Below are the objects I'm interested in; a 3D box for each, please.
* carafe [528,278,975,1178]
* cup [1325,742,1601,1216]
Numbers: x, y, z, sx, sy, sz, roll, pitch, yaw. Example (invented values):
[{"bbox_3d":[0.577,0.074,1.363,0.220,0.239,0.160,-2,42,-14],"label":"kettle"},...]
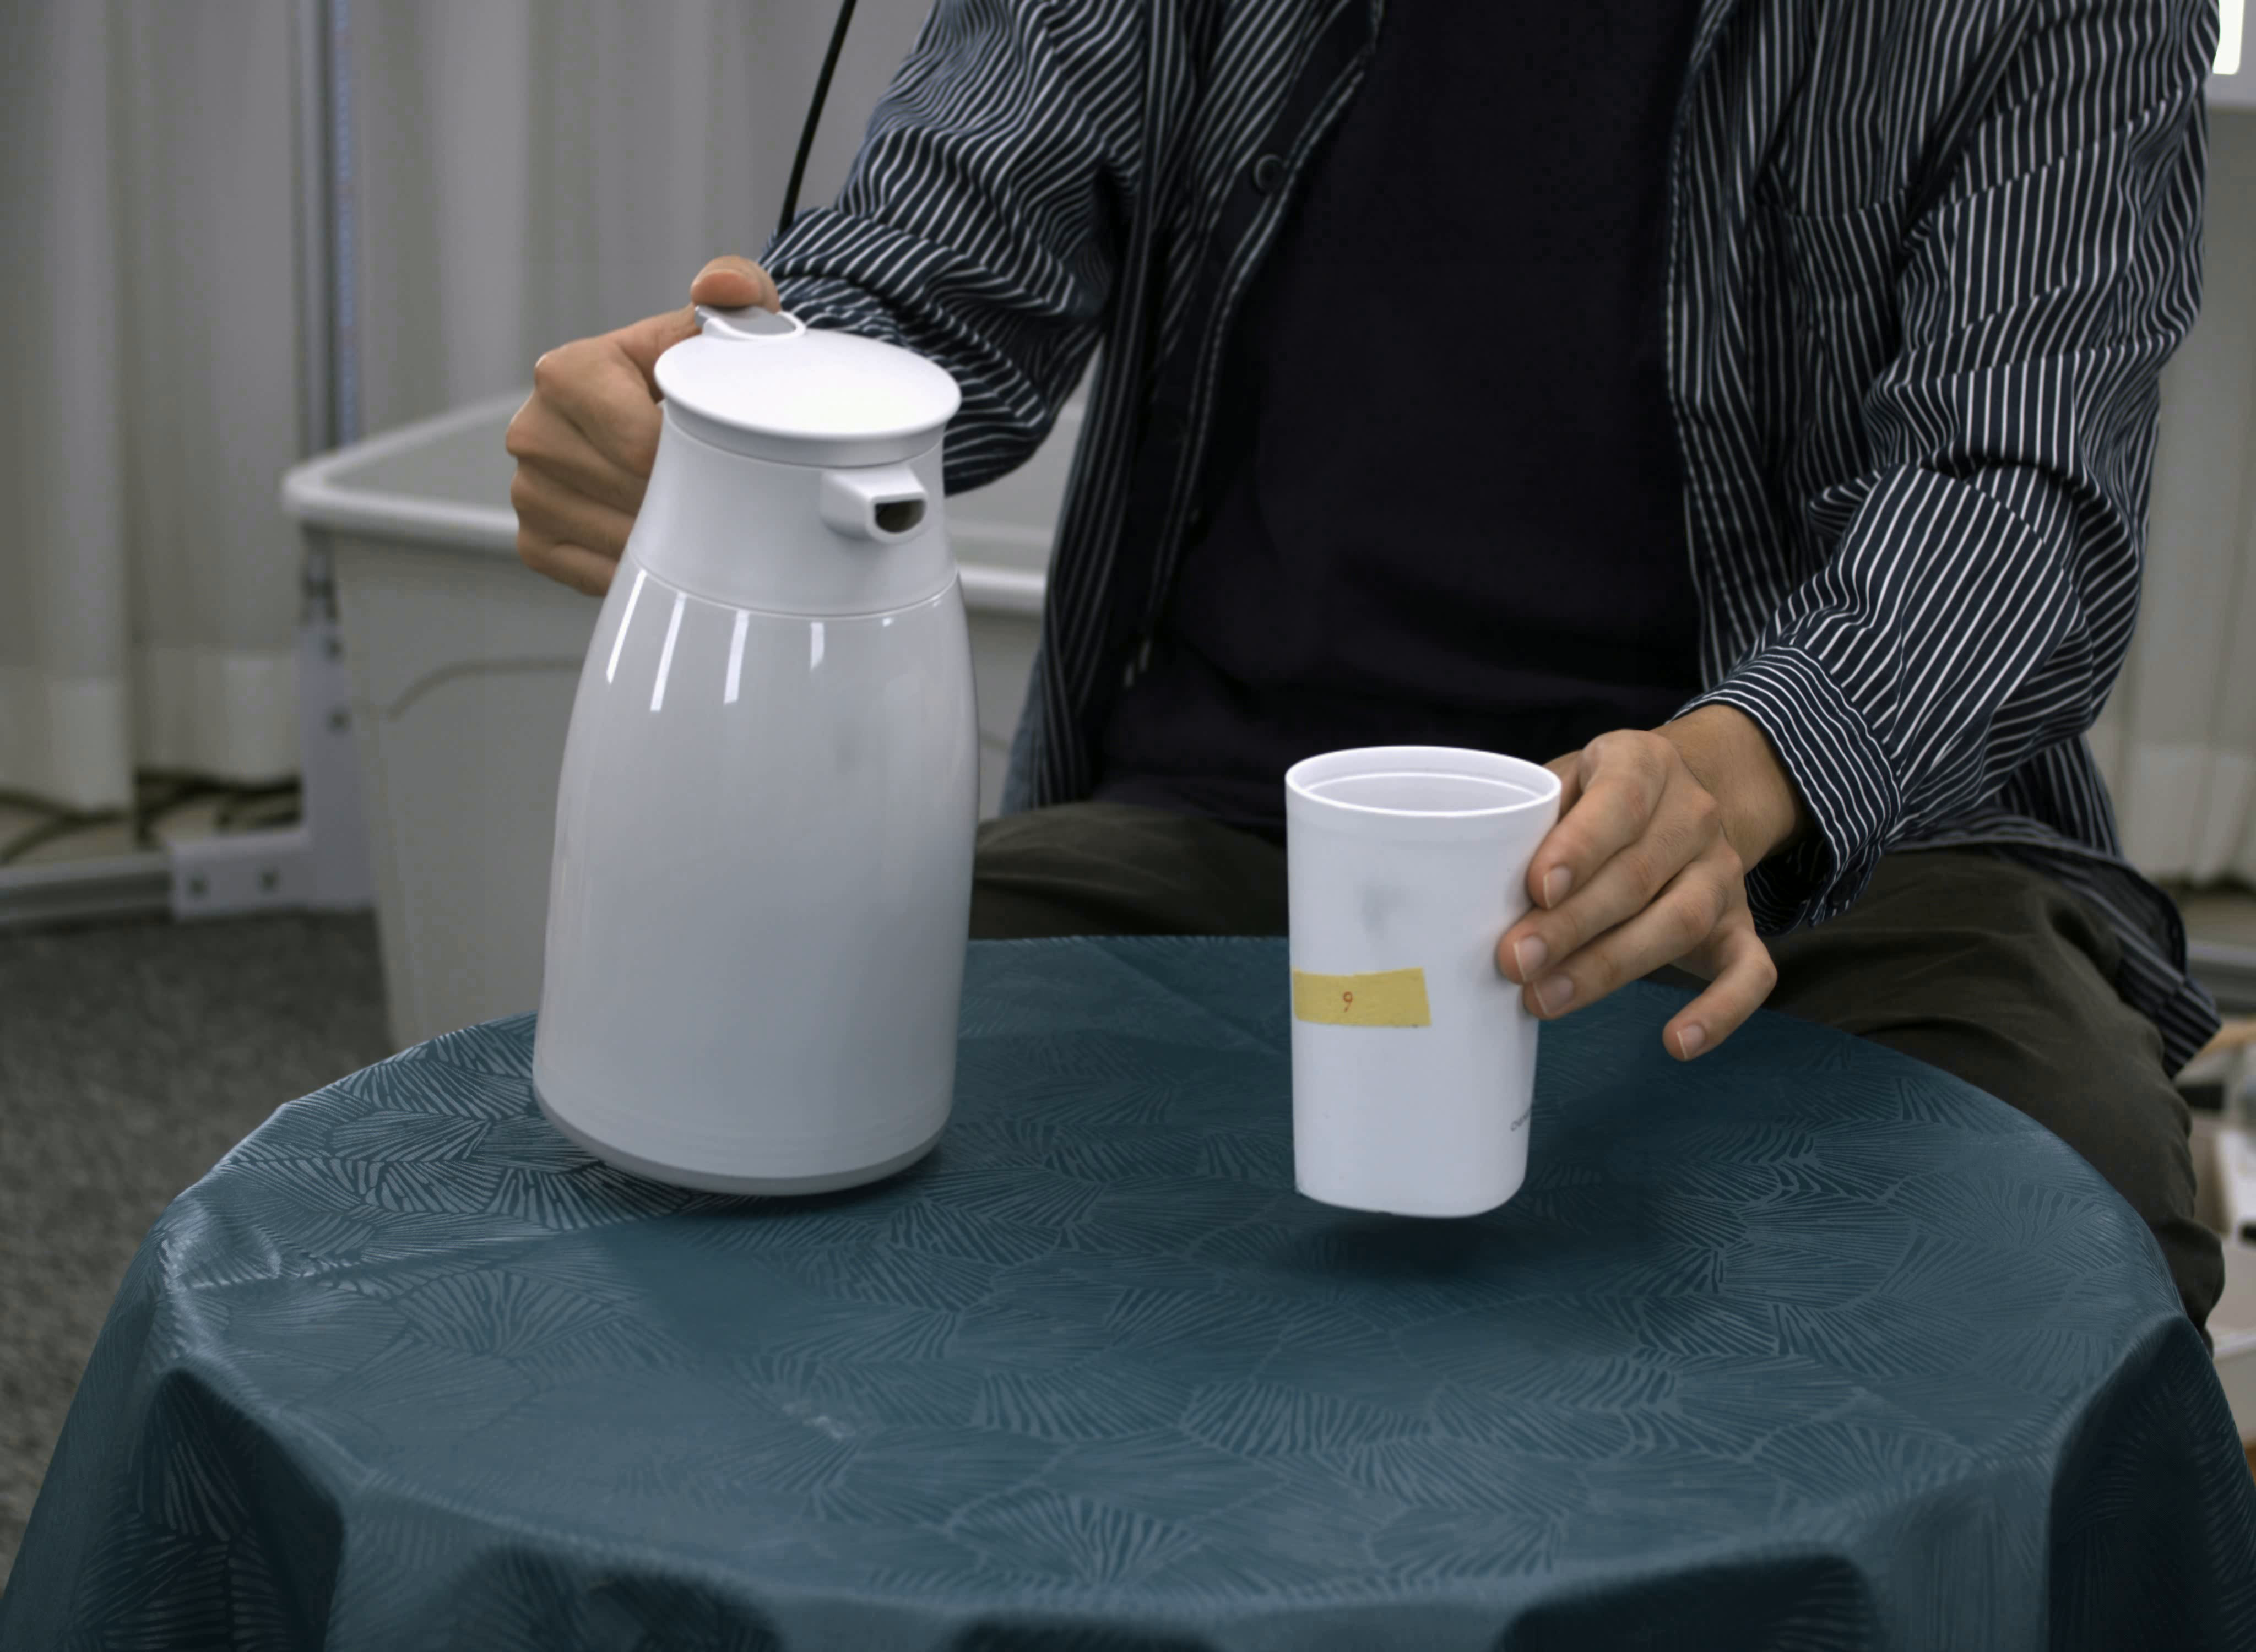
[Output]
[{"bbox_3d":[-0.121,-0.040,1.616,0.133,0.251,0.165,-14,34,-34],"label":"carafe"},{"bbox_3d":[0.097,0.045,1.552,0.081,0.126,0.081,1,15,0],"label":"cup"}]
